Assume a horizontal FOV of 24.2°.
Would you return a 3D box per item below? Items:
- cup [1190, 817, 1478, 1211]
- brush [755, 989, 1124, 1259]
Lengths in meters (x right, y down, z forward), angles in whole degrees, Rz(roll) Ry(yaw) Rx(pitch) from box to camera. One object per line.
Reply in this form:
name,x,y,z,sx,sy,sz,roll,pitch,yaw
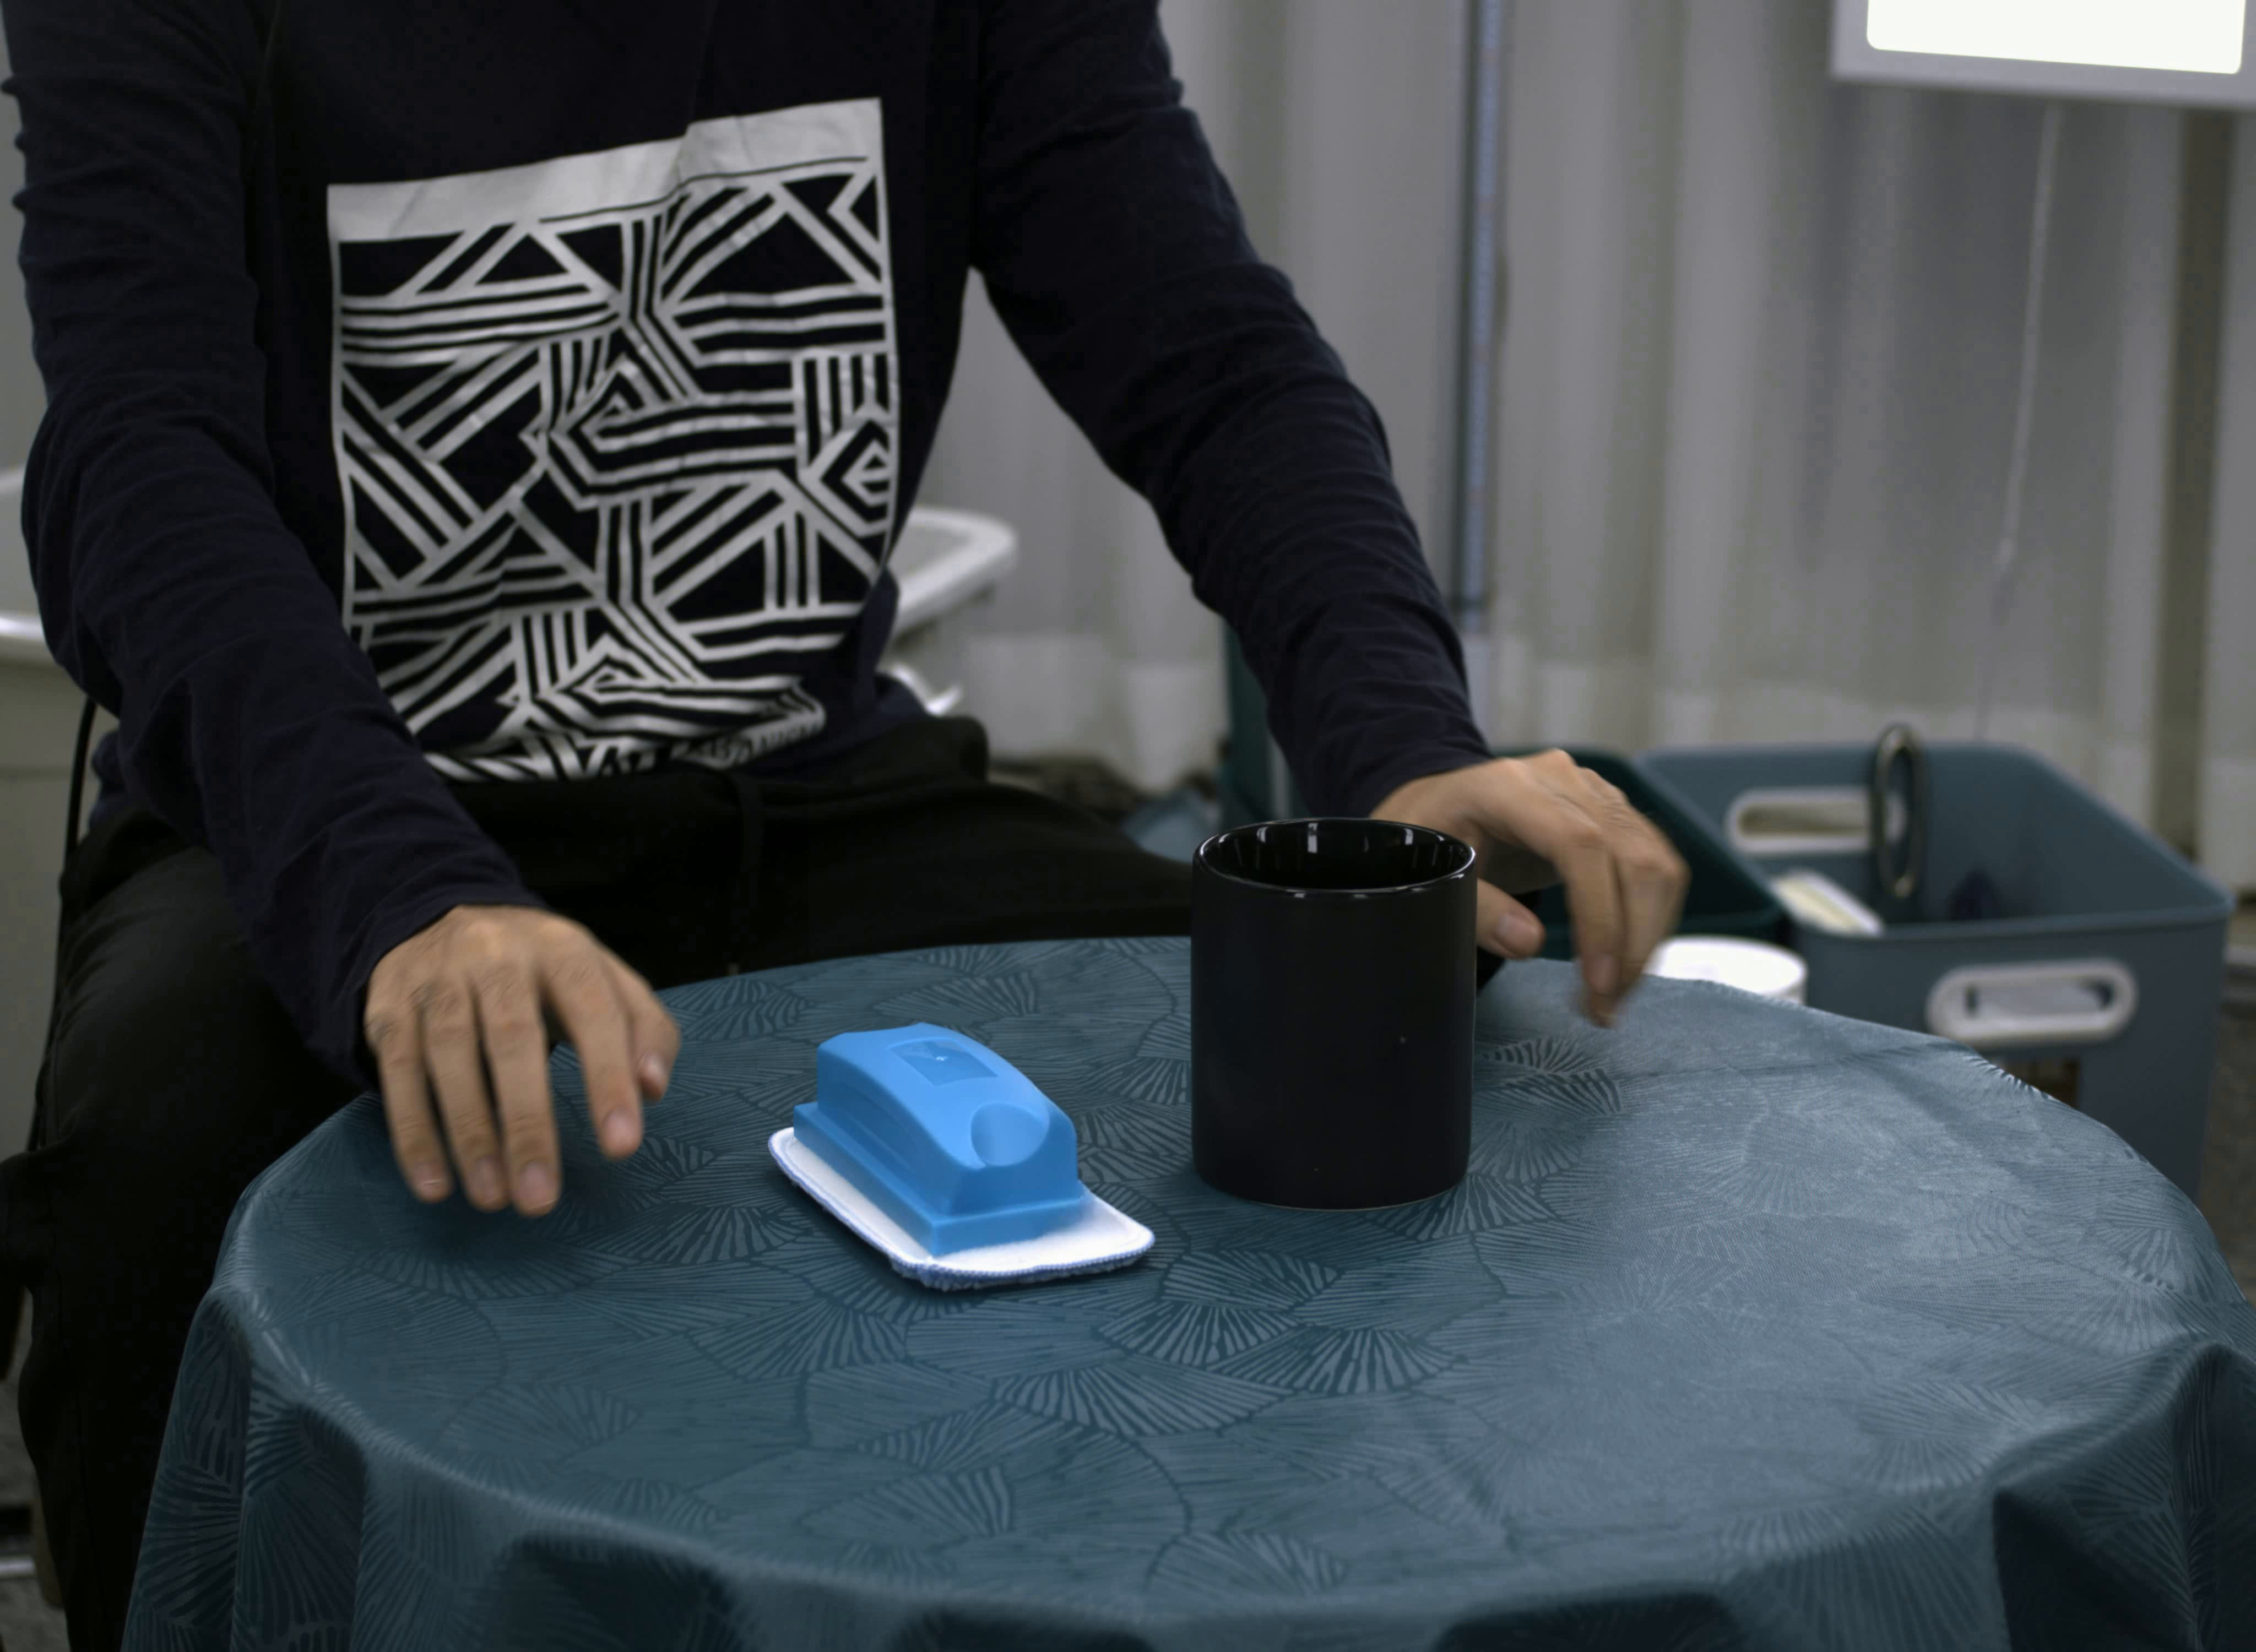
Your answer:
cup,0.060,0.054,1.650,0.089,0.106,0.122,-6,15,-14
brush,-0.056,0.088,1.598,0.084,0.056,0.142,-3,18,-22
